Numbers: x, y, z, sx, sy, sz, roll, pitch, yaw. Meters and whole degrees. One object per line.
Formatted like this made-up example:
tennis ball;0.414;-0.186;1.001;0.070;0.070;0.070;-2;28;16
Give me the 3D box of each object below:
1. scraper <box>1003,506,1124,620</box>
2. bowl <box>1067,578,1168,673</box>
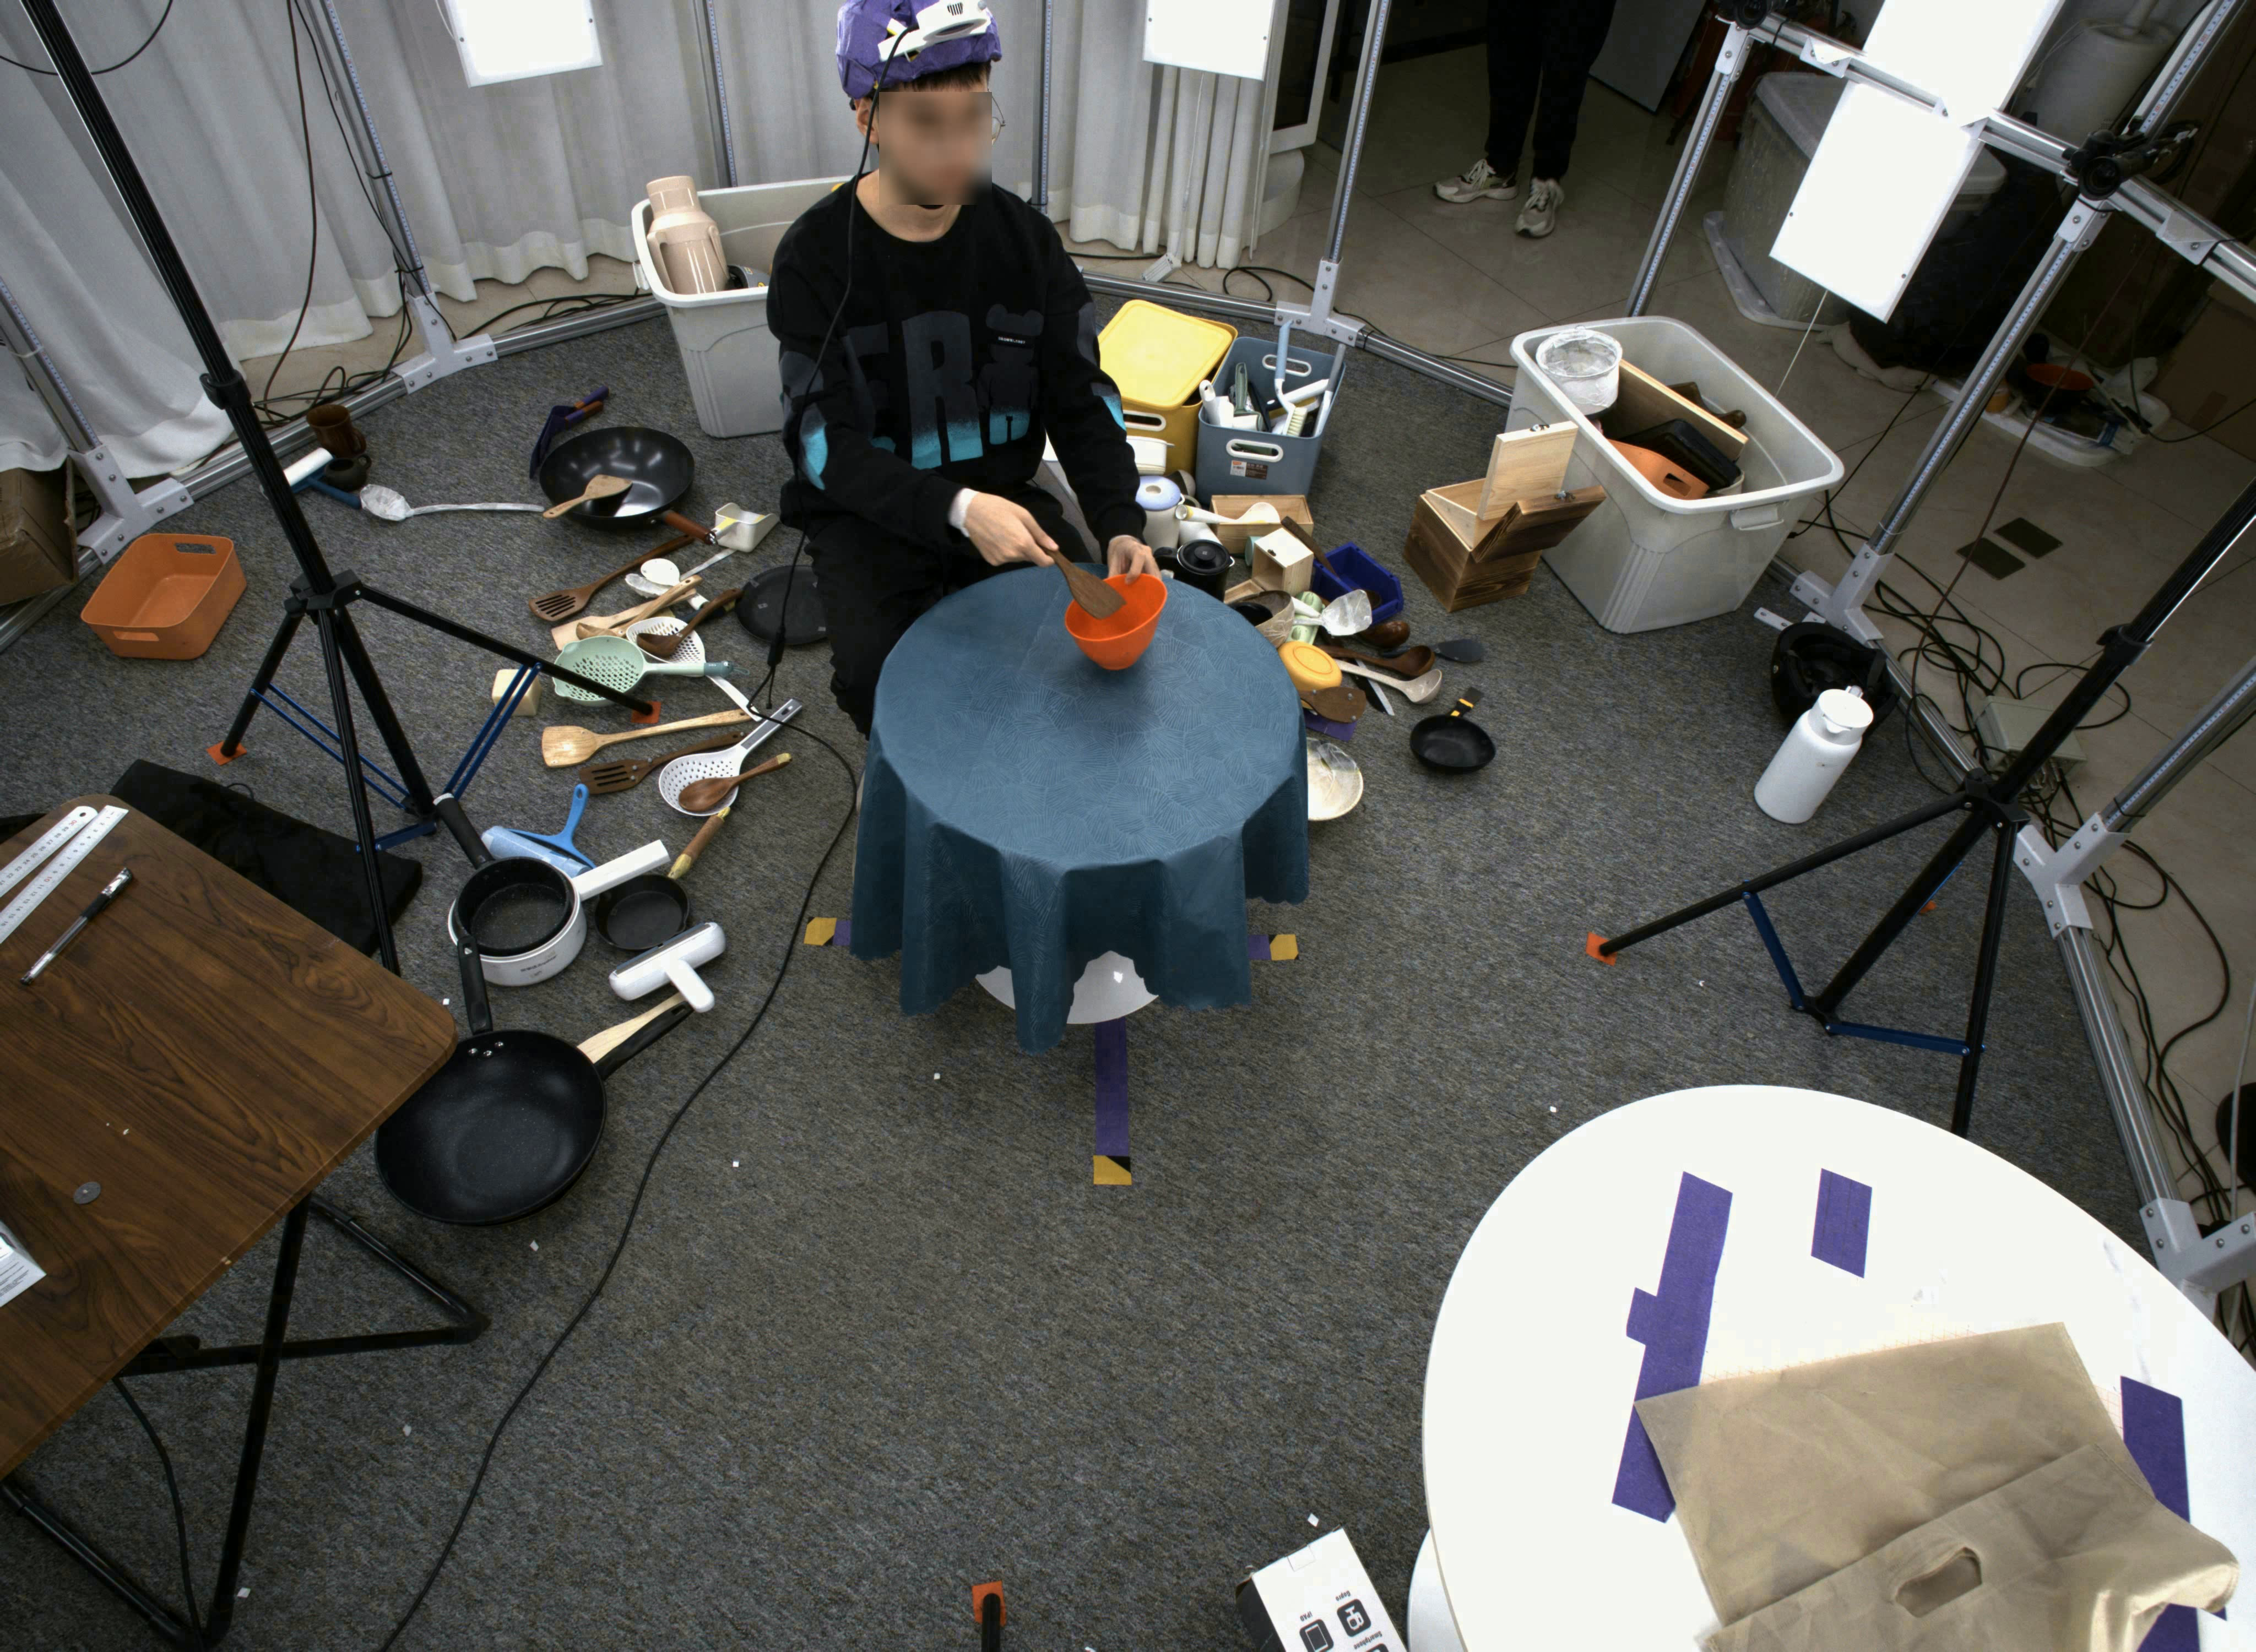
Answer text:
scraper;-0.095;-0.368;1.791;0.212;0.010;0.077;45;47;5
bowl;-0.010;-0.276;1.830;0.148;0.102;0.152;-7;47;7
